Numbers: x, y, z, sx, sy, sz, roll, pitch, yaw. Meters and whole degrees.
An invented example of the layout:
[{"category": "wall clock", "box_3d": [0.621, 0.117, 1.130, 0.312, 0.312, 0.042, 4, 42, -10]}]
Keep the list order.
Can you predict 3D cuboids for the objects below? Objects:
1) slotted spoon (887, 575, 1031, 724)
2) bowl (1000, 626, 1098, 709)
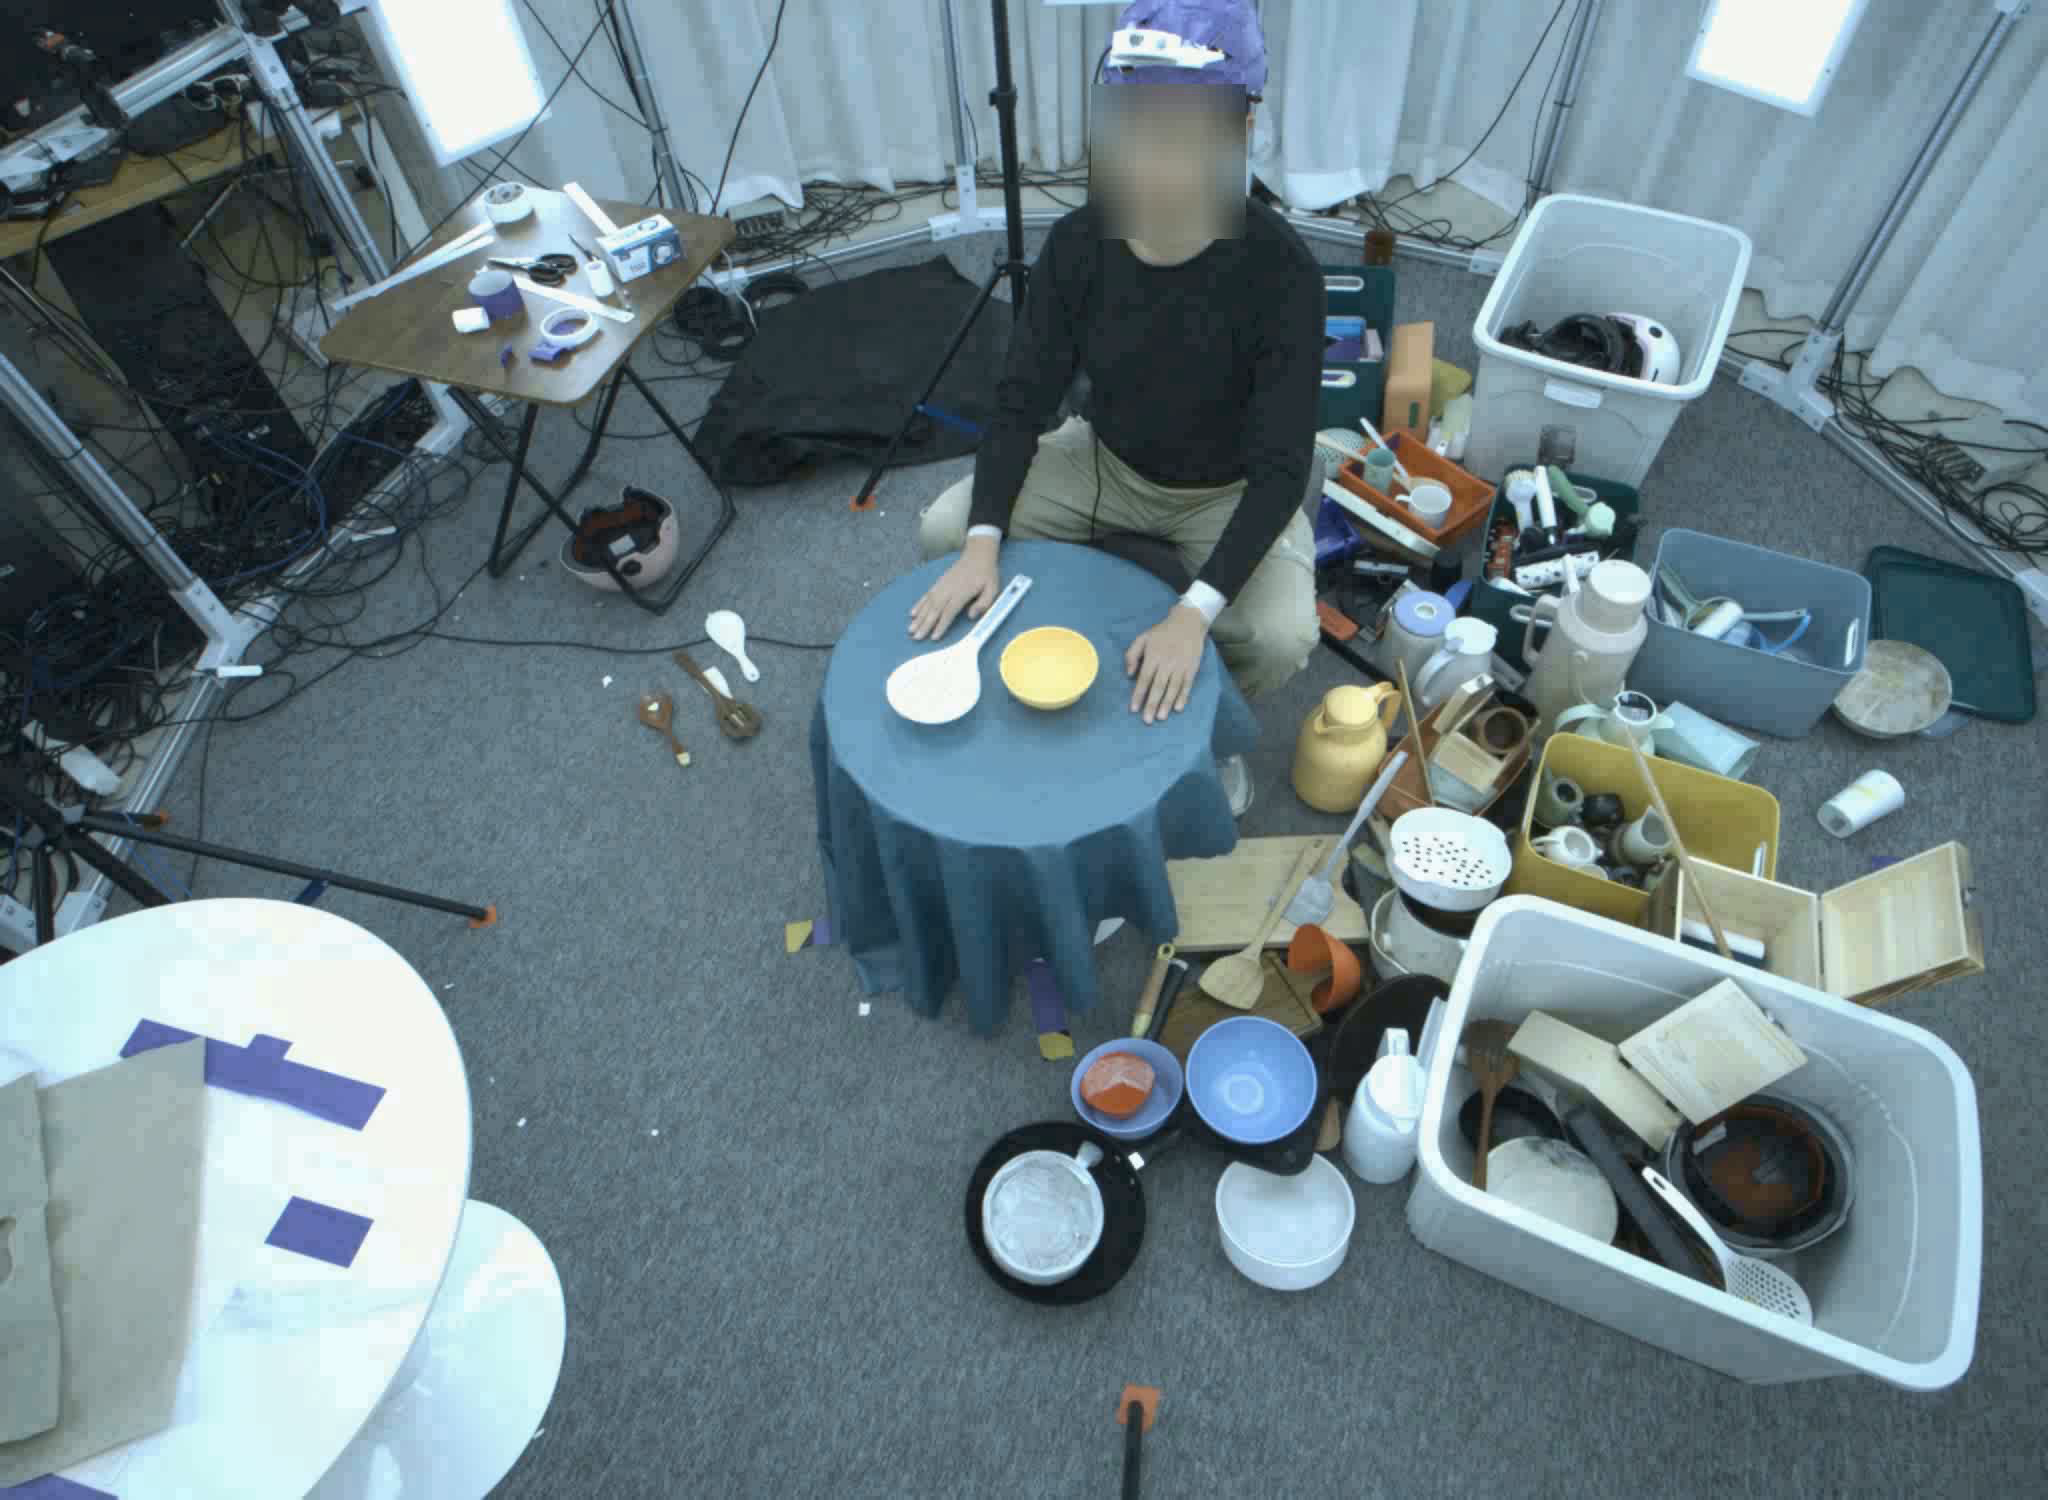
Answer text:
[{"category": "slotted spoon", "box_3d": [-0.083, -0.159, 1.875, 0.134, 0.046, 0.350, 23, 58, 16]}, {"category": "bowl", "box_3d": [0.037, -0.111, 1.831, 0.145, 0.061, 0.144, 0, 56, 1]}]
